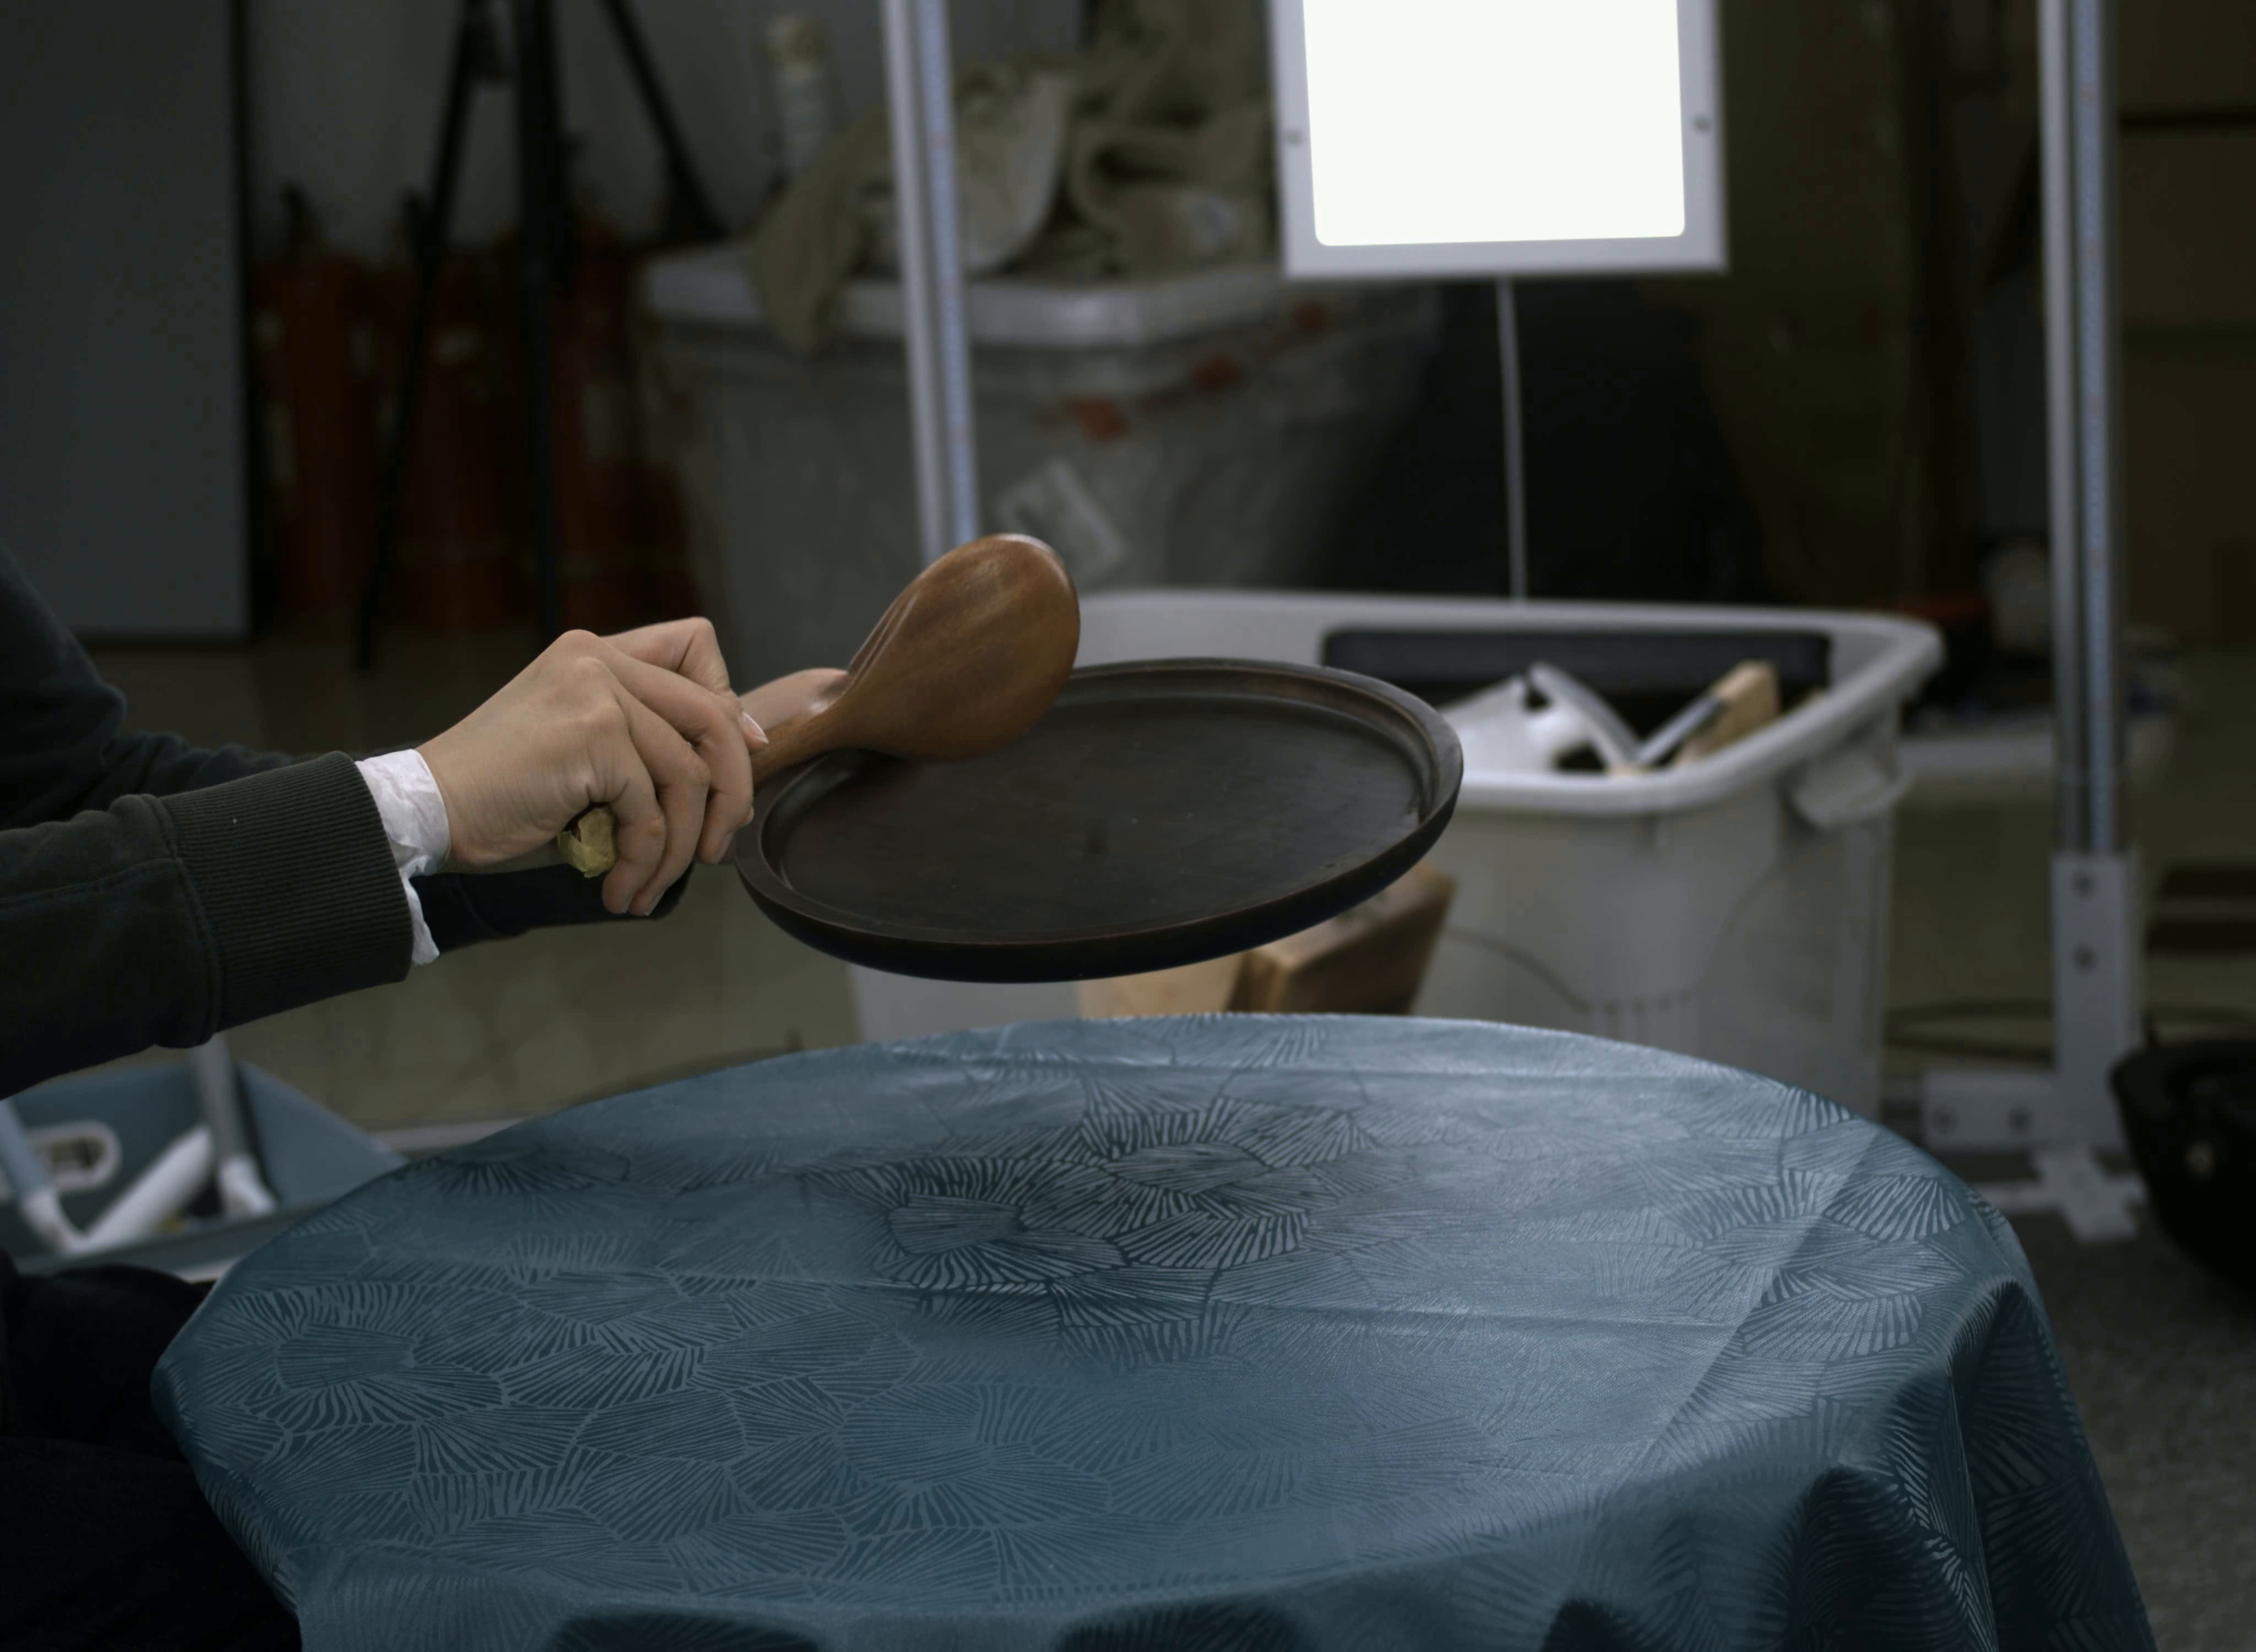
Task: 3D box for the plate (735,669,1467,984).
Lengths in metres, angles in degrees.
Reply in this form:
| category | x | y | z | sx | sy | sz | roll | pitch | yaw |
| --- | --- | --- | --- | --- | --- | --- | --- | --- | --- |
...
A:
| category | x | y | z | sx | sy | sz | roll | pitch | yaw |
| --- | --- | --- | --- | --- | --- | --- | --- | --- | --- |
| plate | -0.009 | -0.002 | 1.886 | 0.254 | 0.029 | 0.254 | -7 | 21 | 1 |

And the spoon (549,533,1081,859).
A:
| category | x | y | z | sx | sy | sz | roll | pitch | yaw |
| --- | --- | --- | --- | --- | --- | --- | --- | --- | --- |
| spoon | -0.094 | -0.035 | 1.754 | 0.211 | 0.076 | 0.017 | -24 | 30 | -33 |
